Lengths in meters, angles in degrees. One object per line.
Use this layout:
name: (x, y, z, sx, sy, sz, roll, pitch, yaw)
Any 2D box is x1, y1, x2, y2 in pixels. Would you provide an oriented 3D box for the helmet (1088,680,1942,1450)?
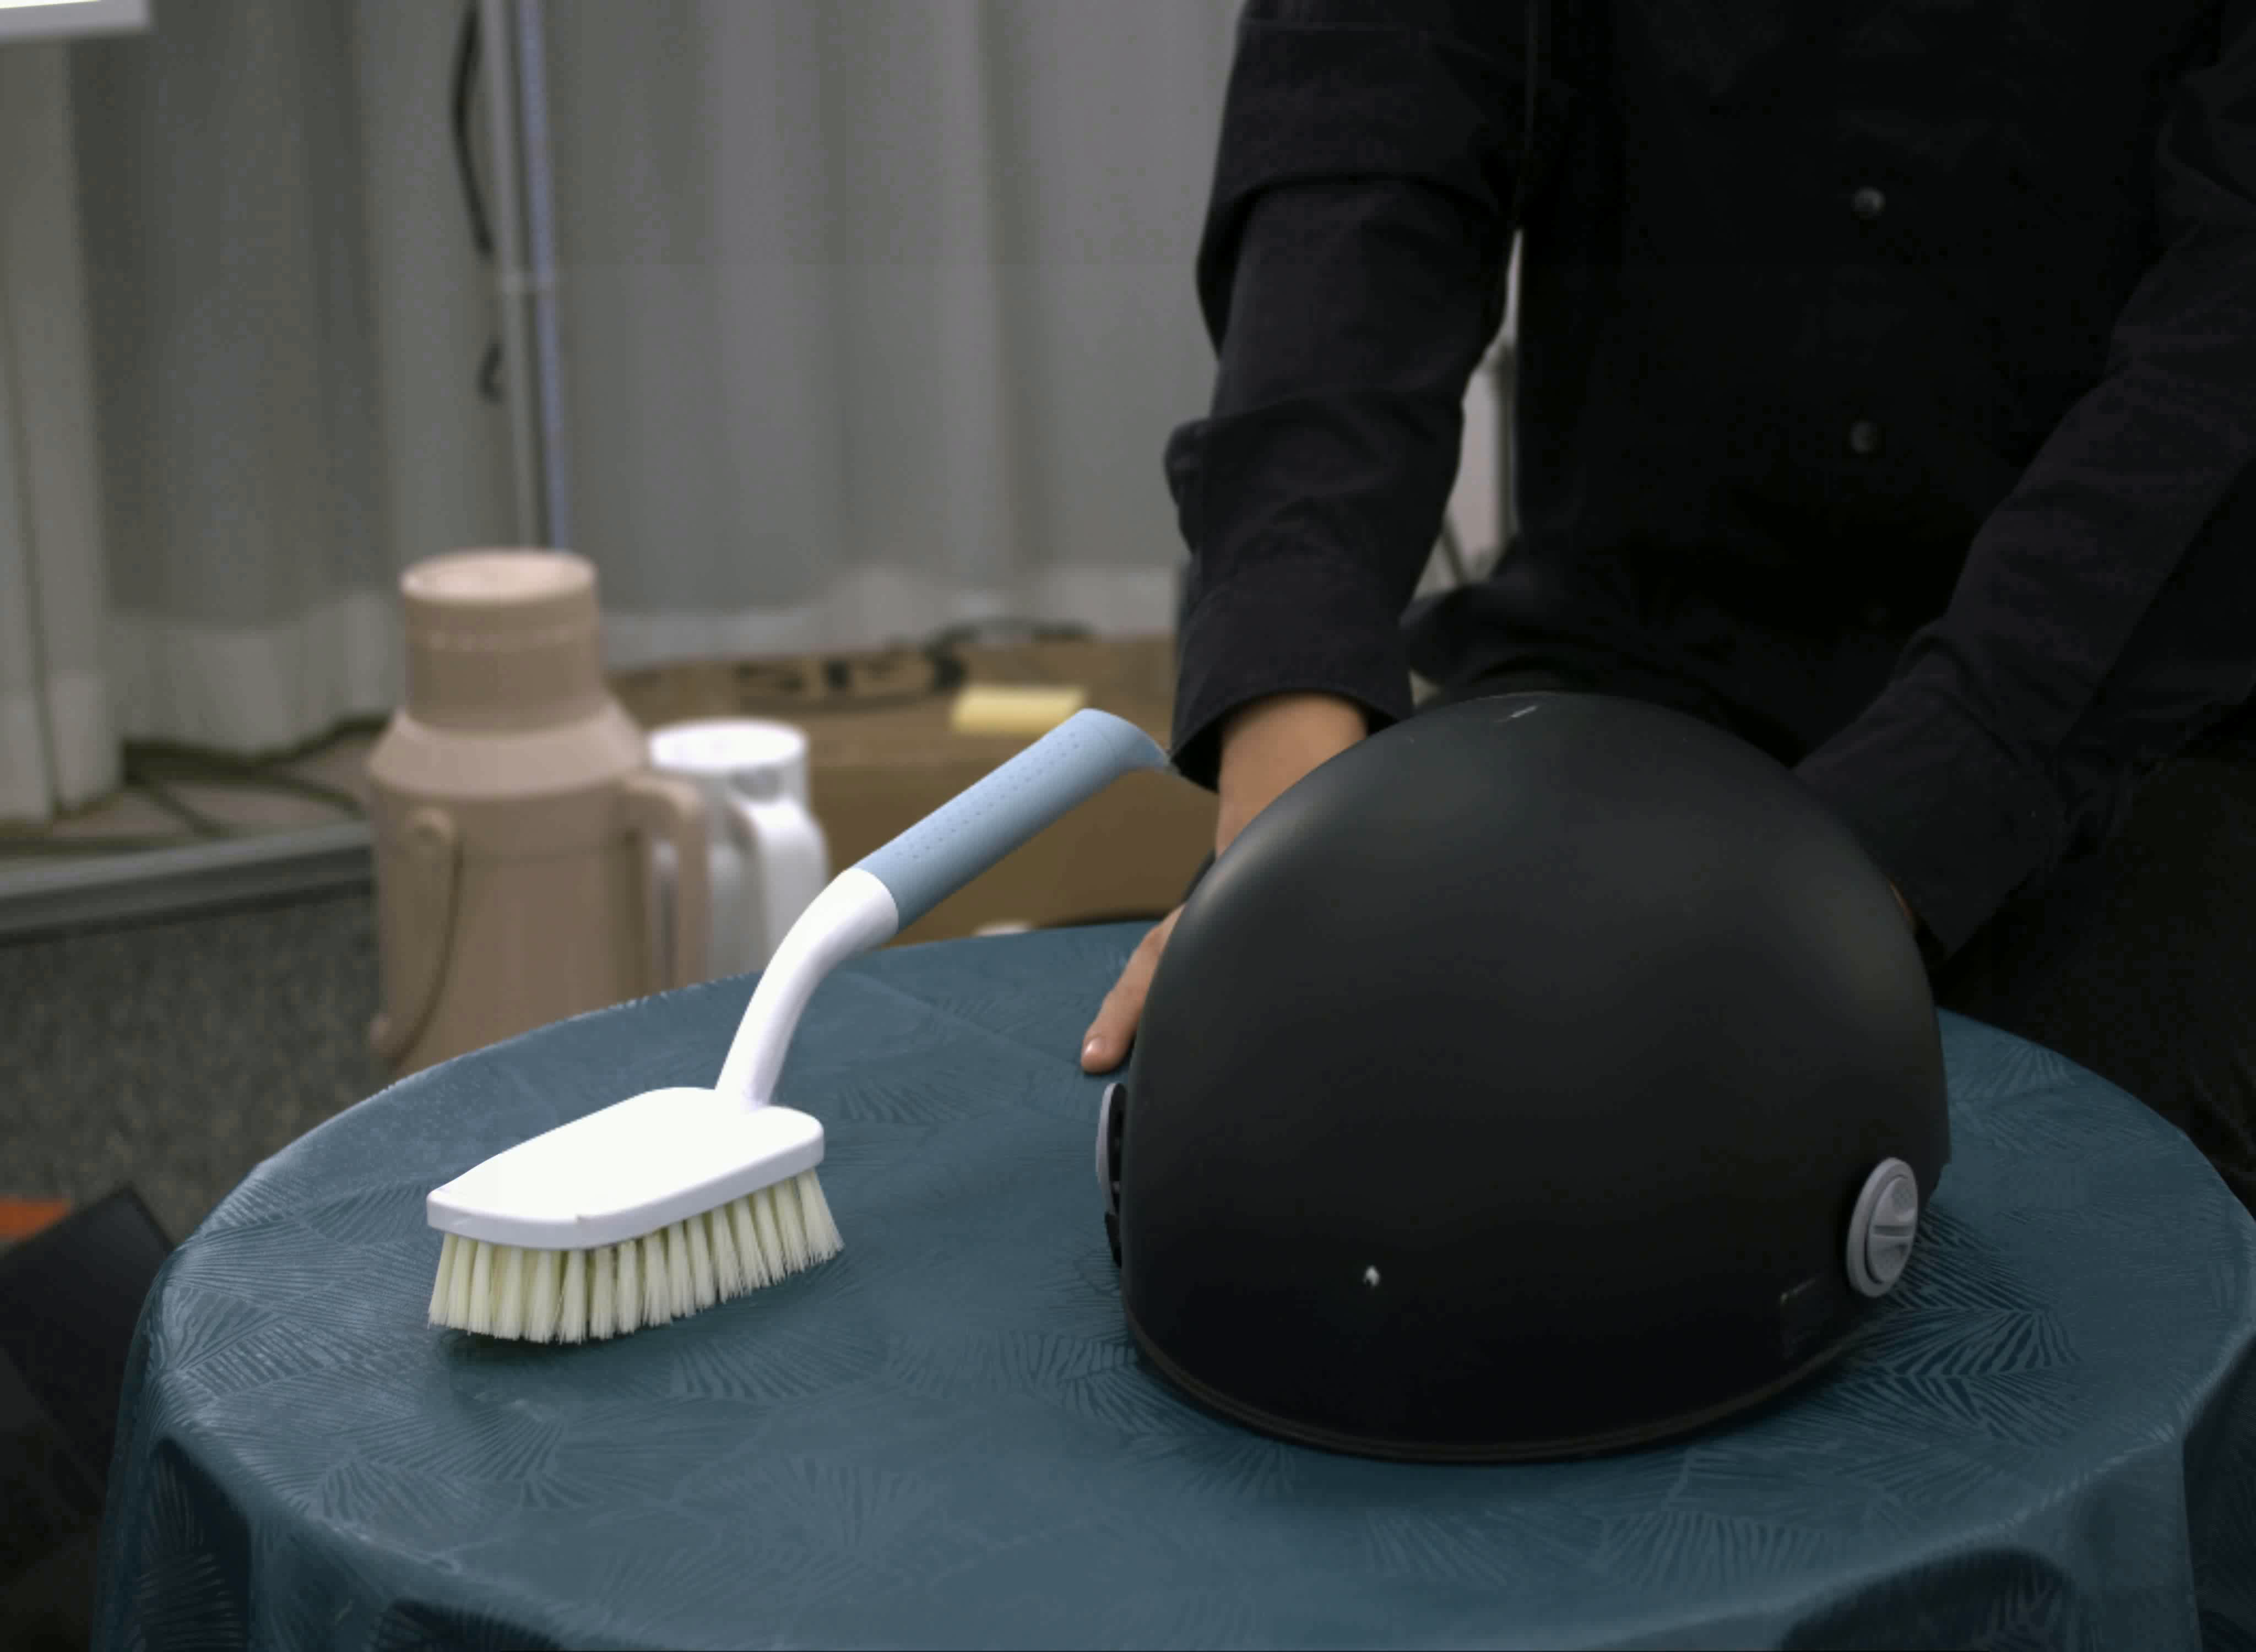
helmet: (0.108, 0.051, 1.458, 0.233, 0.166, 0.269, 4, 19, 24)

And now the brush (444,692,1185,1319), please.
brush: (-0.078, 0.067, 1.570, 0.084, 0.085, 0.320, 42, 47, 14)
